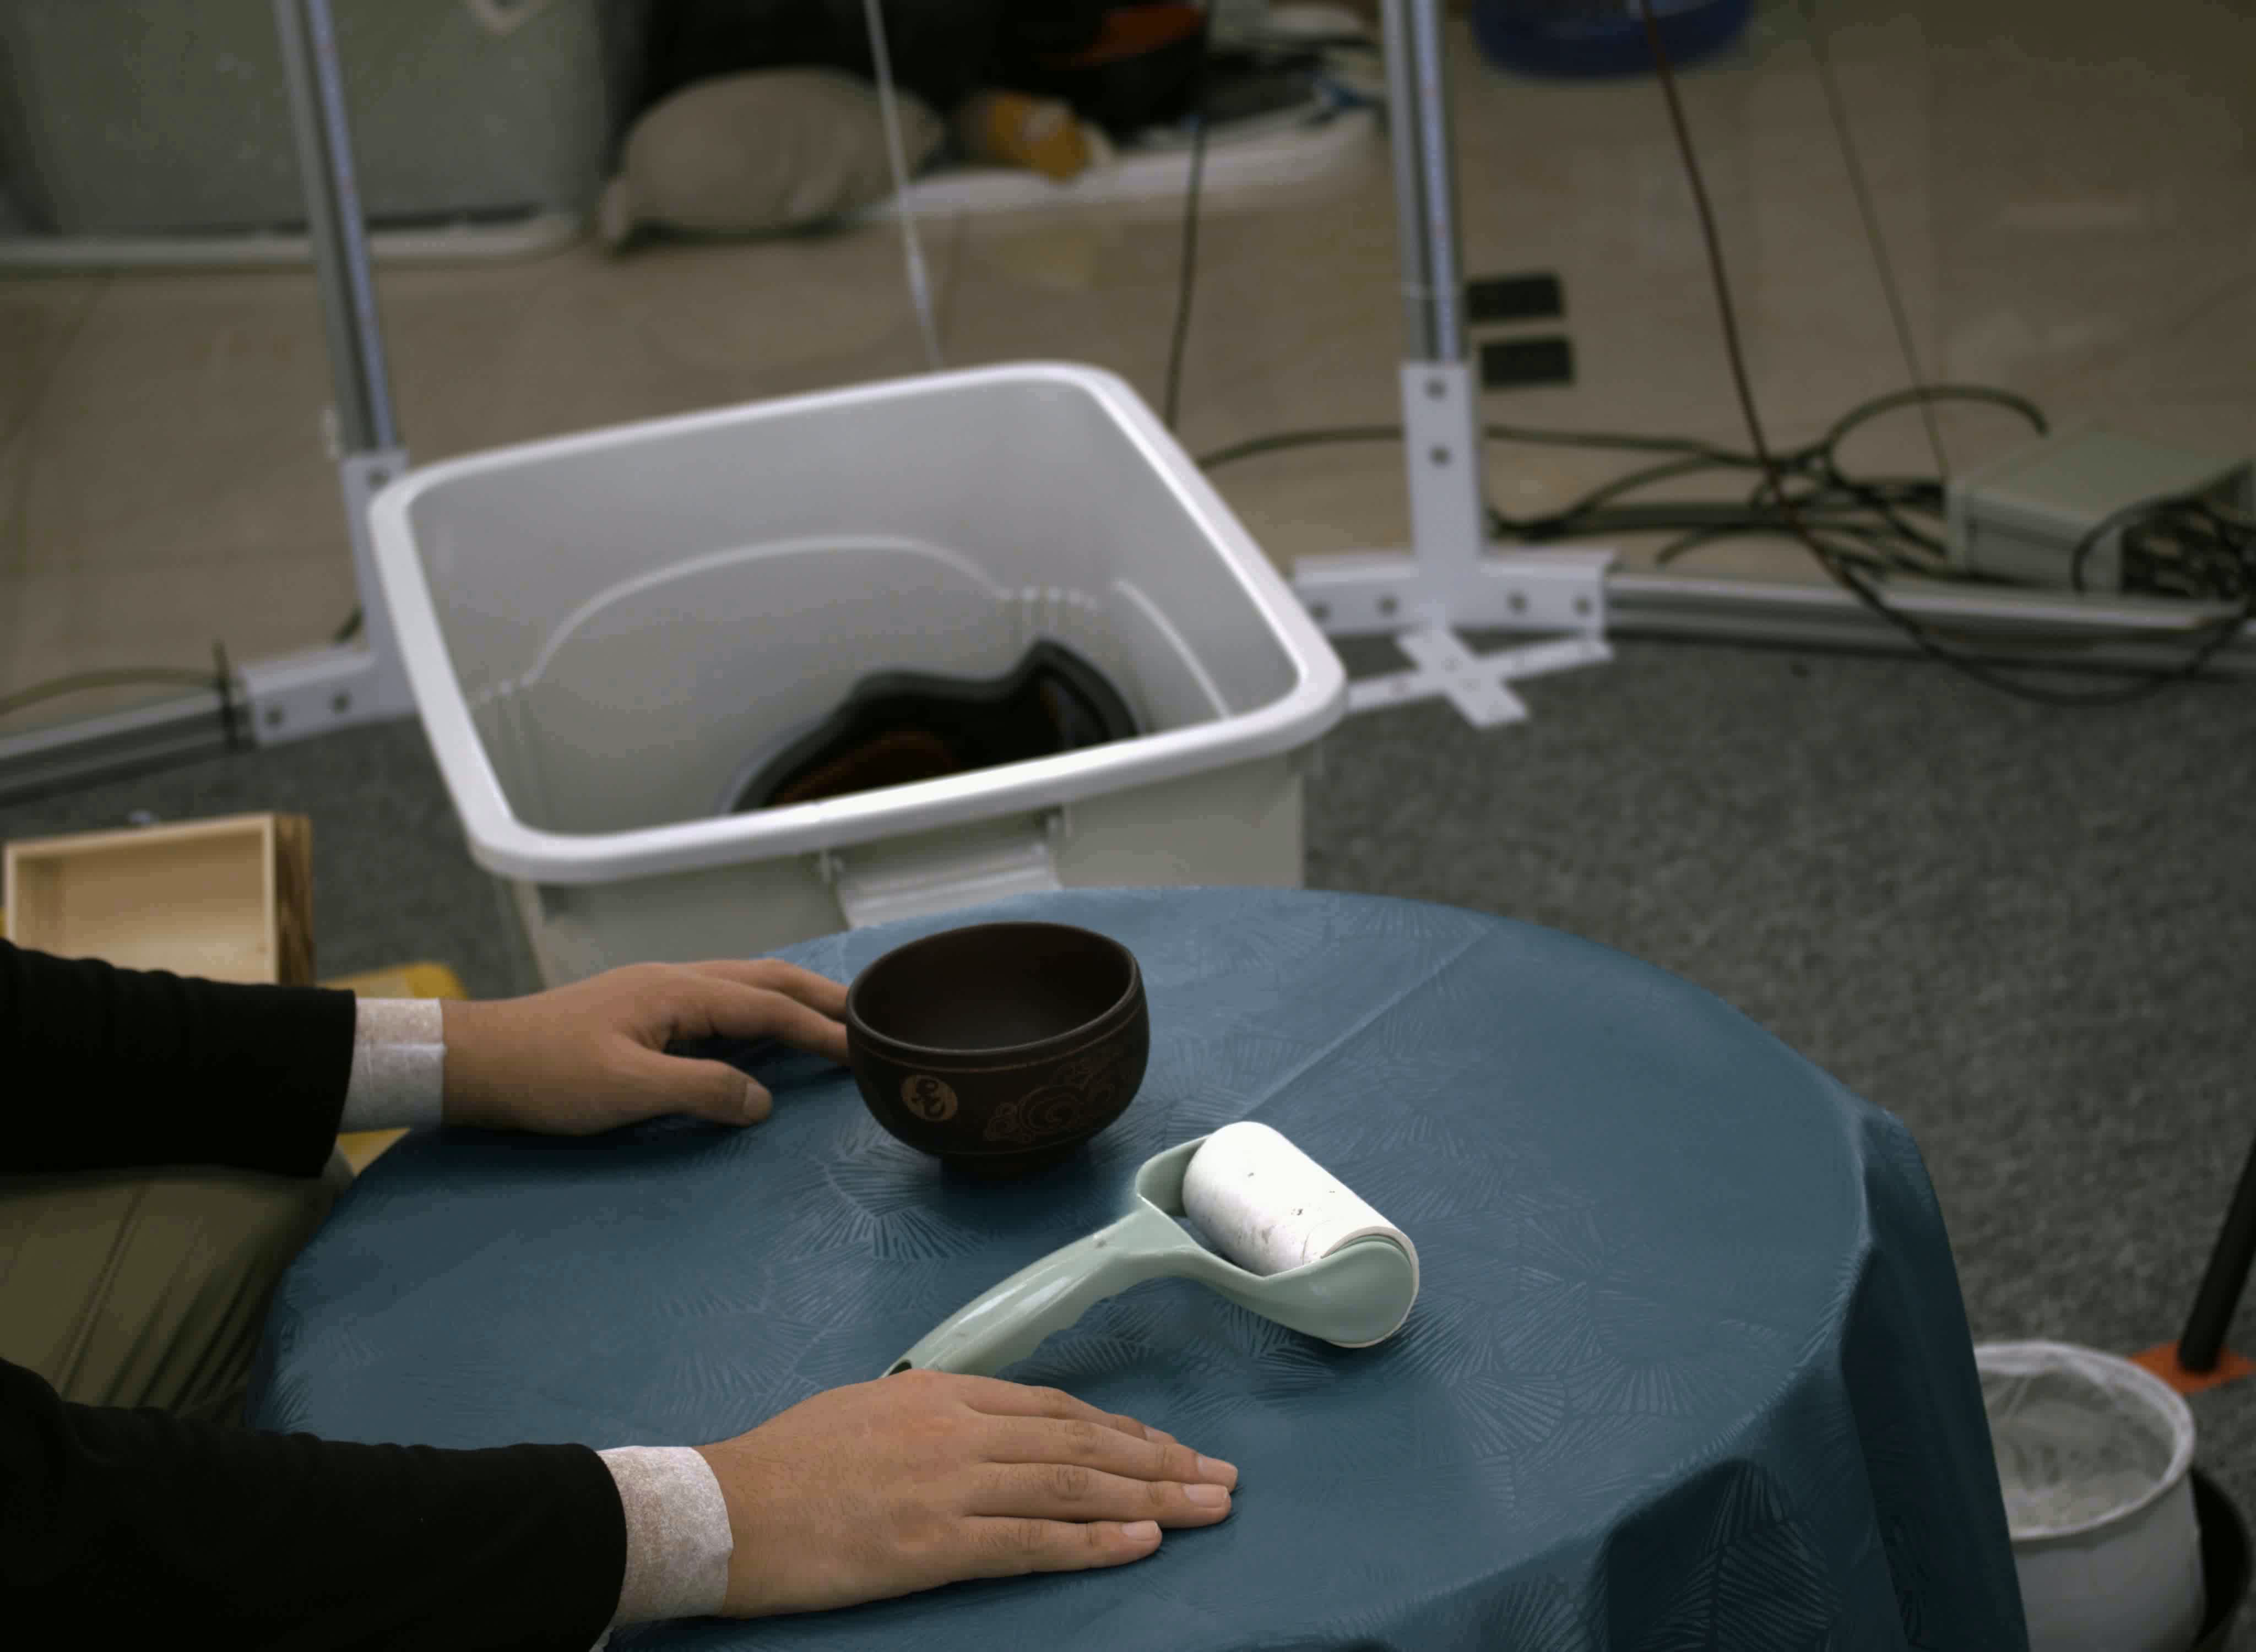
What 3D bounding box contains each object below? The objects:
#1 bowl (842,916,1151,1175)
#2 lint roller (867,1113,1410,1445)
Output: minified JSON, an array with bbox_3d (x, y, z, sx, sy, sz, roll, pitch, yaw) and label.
[{"bbox_3d":[-0.049,0.091,2.178,0.118,0.071,0.116,-6,26,3],"label":"bowl"},{"bbox_3d":[-0.007,0.166,2.038,0.196,0.049,0.115,-19,28,-20],"label":"lint roller"}]
